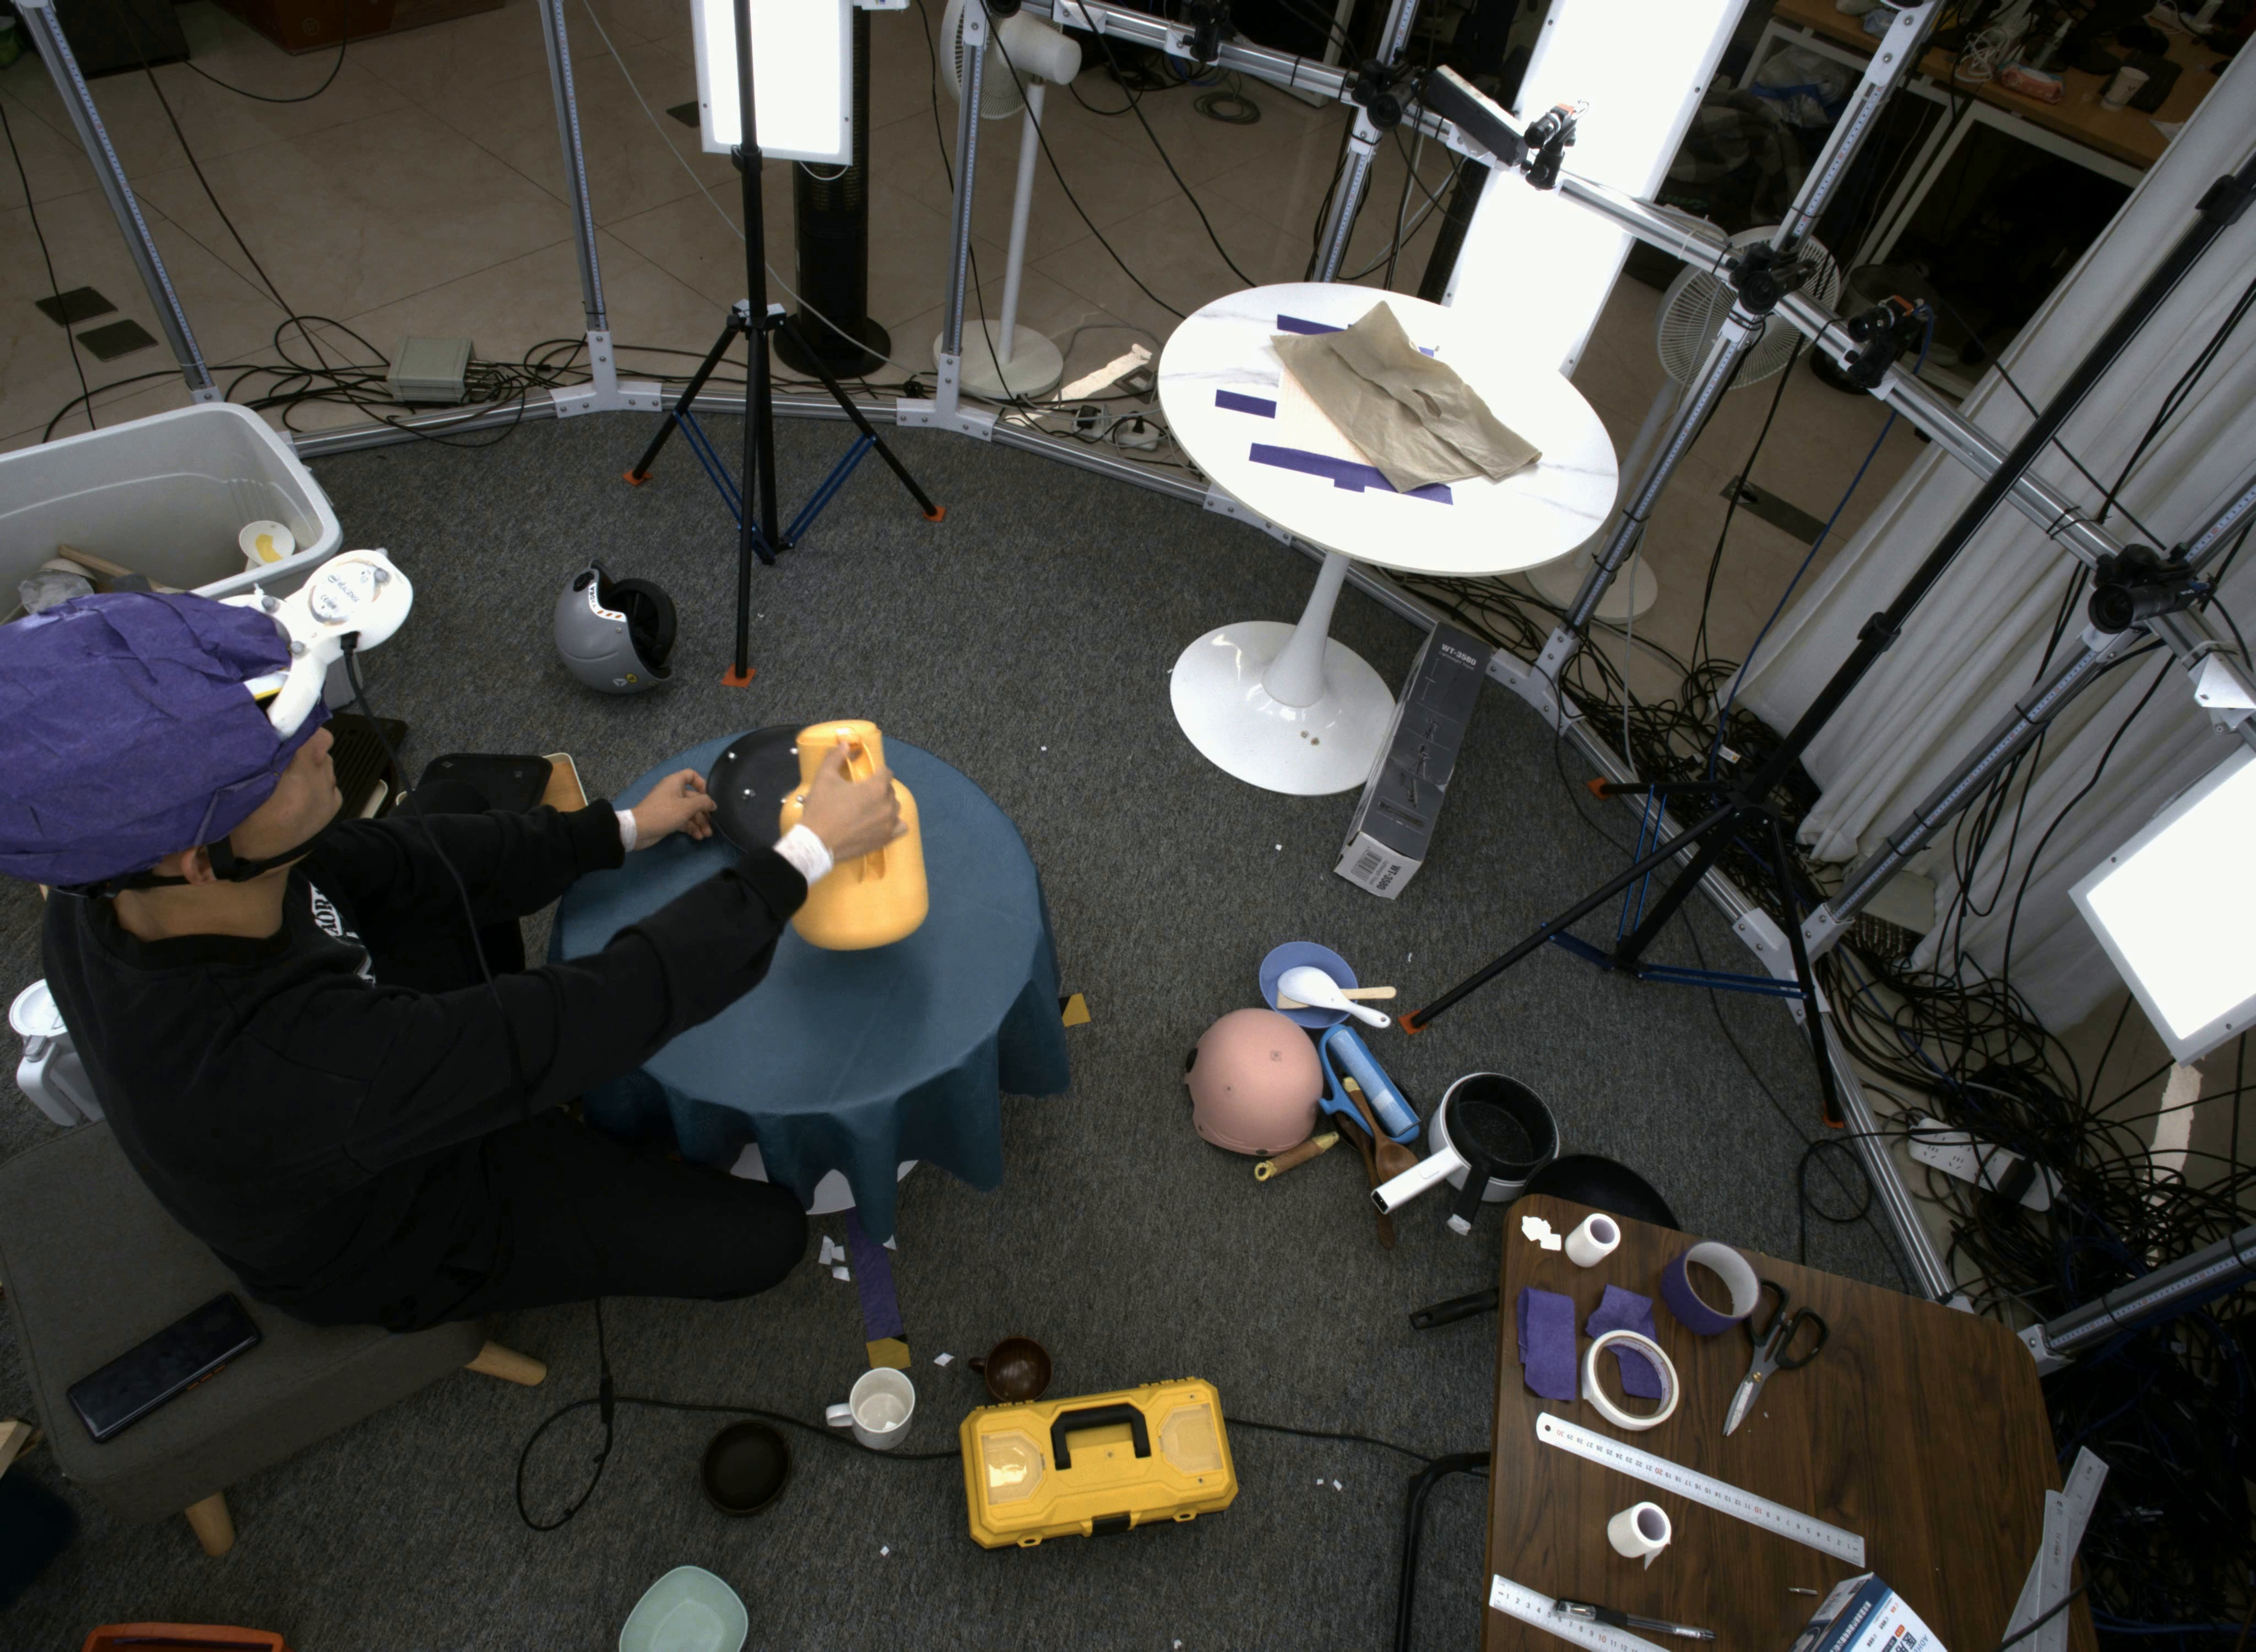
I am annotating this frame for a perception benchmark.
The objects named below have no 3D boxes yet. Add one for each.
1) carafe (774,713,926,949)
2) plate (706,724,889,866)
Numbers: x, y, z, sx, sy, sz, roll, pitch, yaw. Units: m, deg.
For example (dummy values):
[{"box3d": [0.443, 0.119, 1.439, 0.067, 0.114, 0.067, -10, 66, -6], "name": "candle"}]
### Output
[{"box3d": [-0.324, 0.005, 1.498, 0.164, 0.267, 0.196, -11, 14, -21], "name": "carafe"}, {"box3d": [-0.437, -0.040, 1.726, 0.245, 0.024, 0.240, 11, 51, -11], "name": "plate"}]
